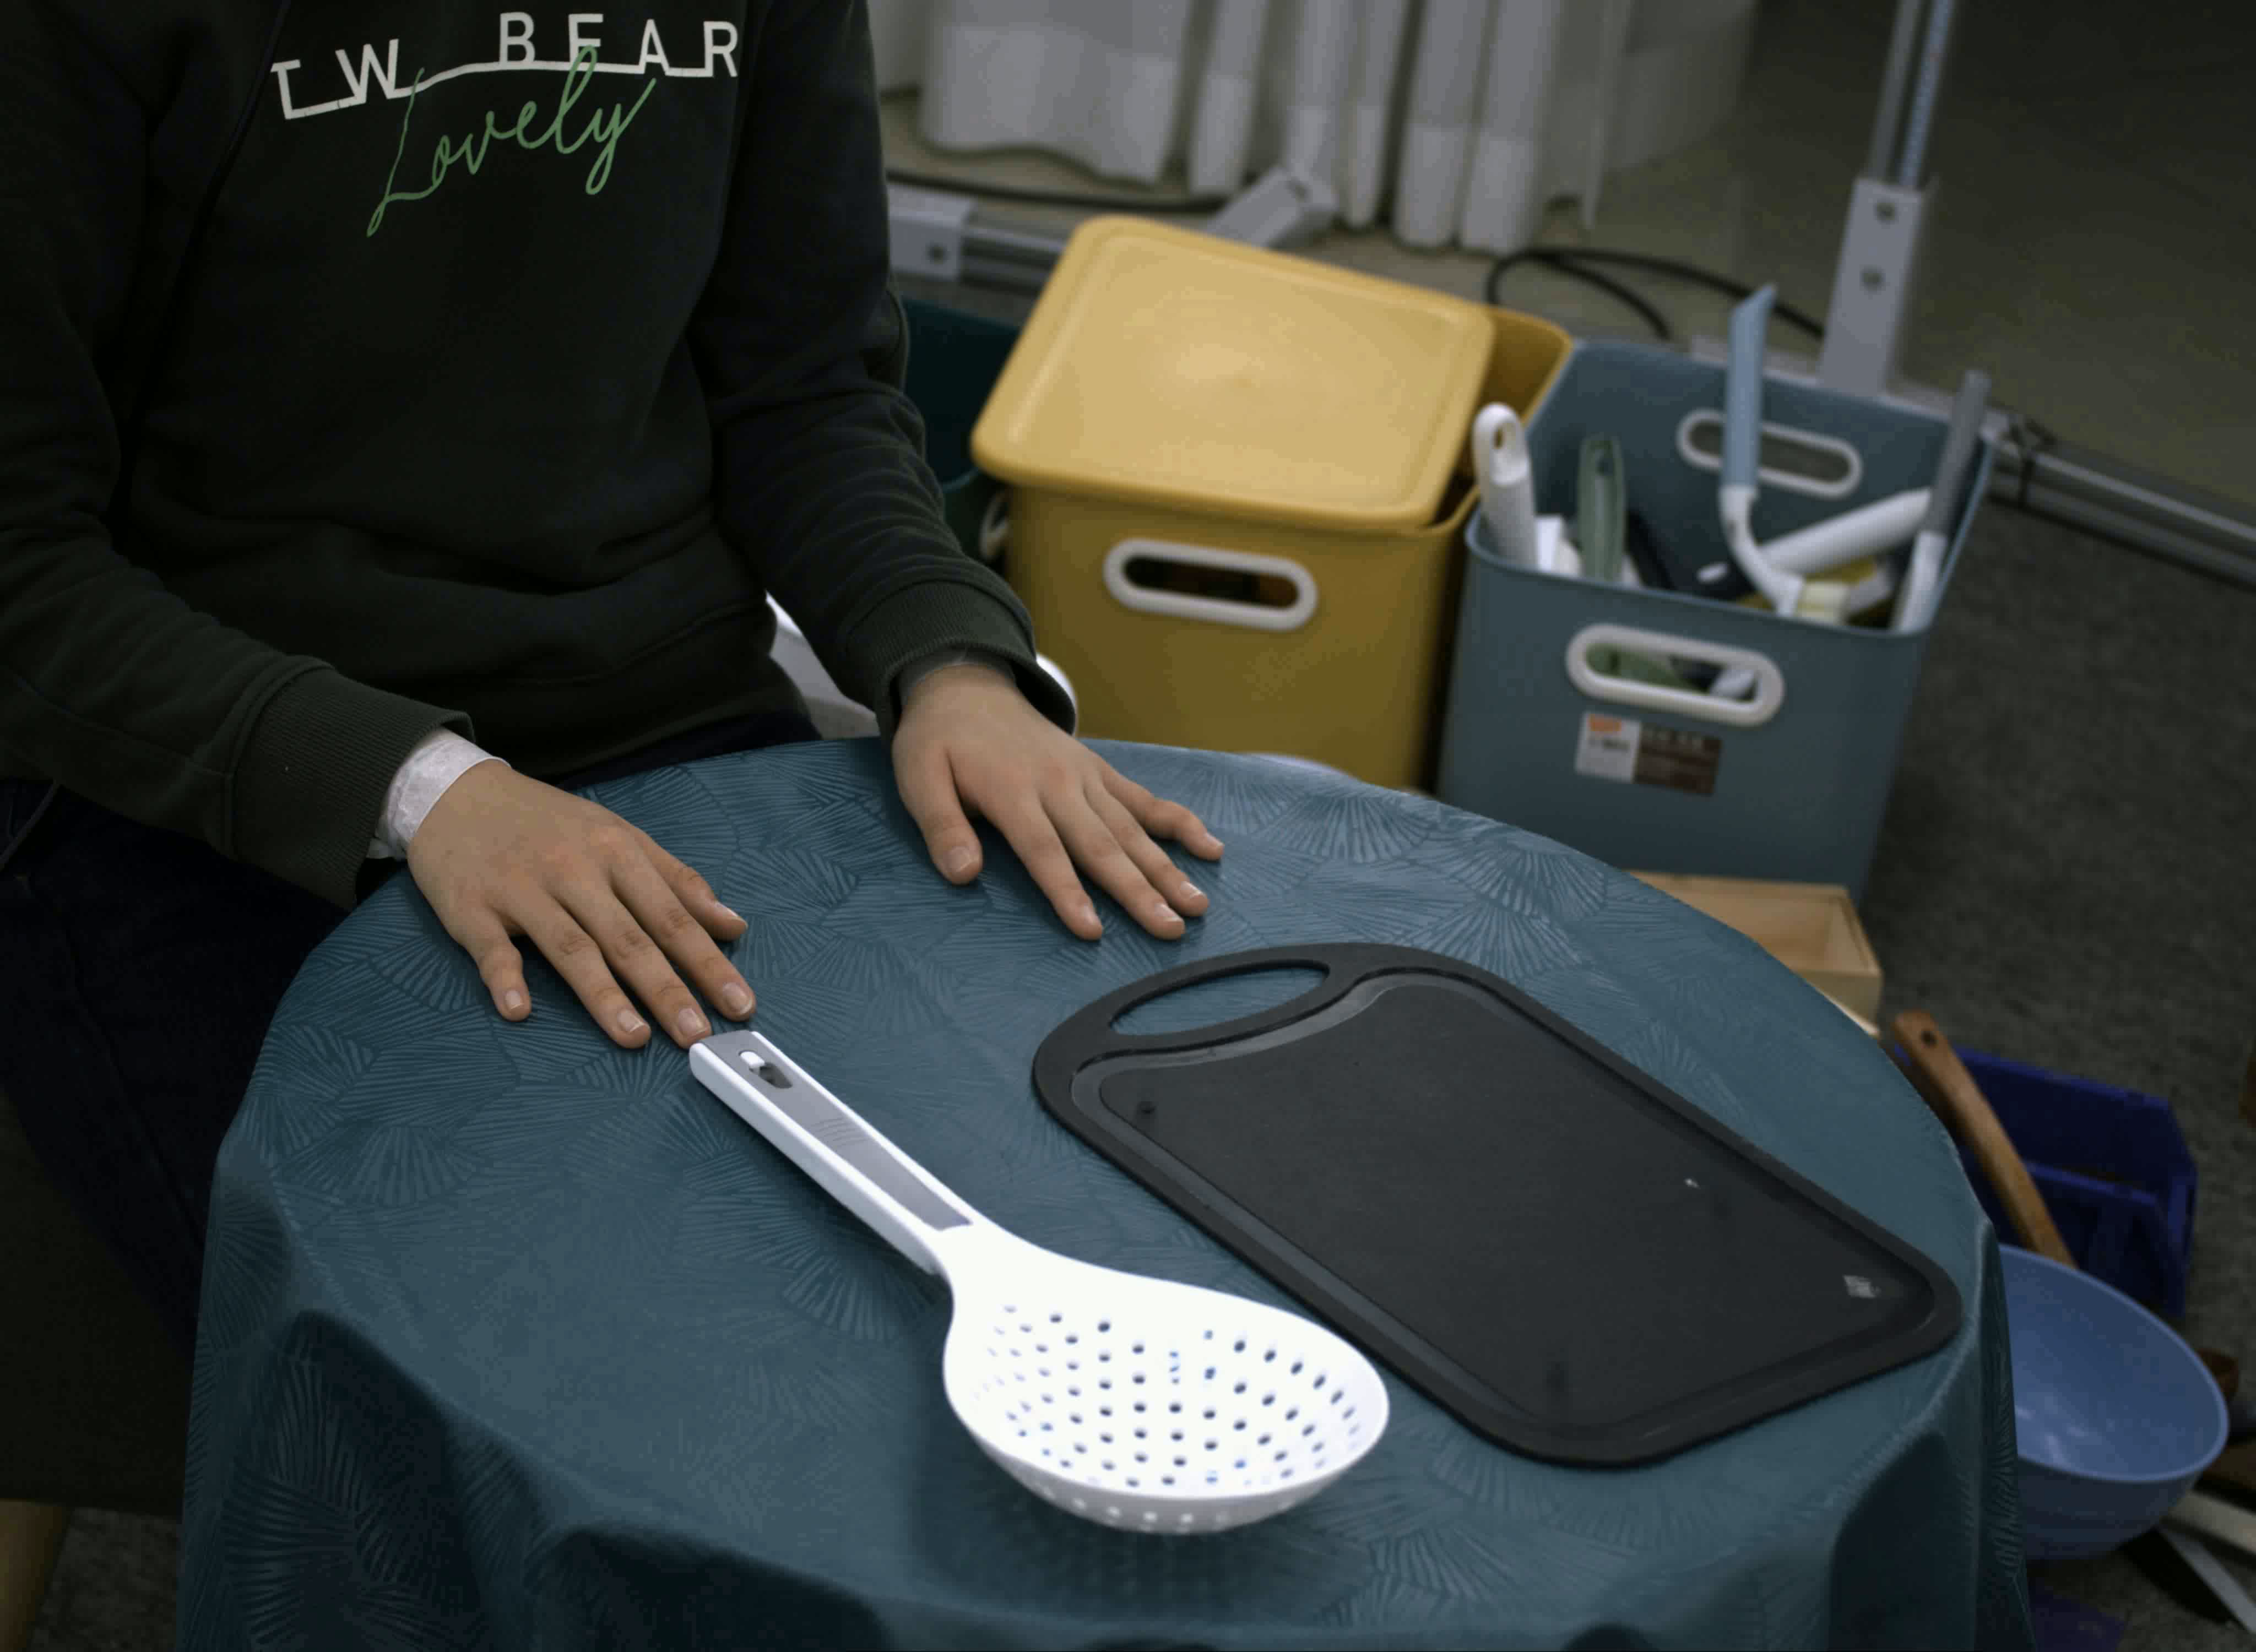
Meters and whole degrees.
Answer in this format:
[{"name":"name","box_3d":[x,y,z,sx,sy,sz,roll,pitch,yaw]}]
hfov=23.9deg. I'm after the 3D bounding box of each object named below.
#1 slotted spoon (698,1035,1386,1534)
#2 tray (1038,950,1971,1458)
[{"name":"slotted spoon","box_3d":[-0.047,0.140,1.706,0.135,0.045,0.353,-8,29,-31]},{"name":"tray","box_3d":[0.119,0.120,1.827,0.210,0.010,0.328,-14,33,-36]}]
